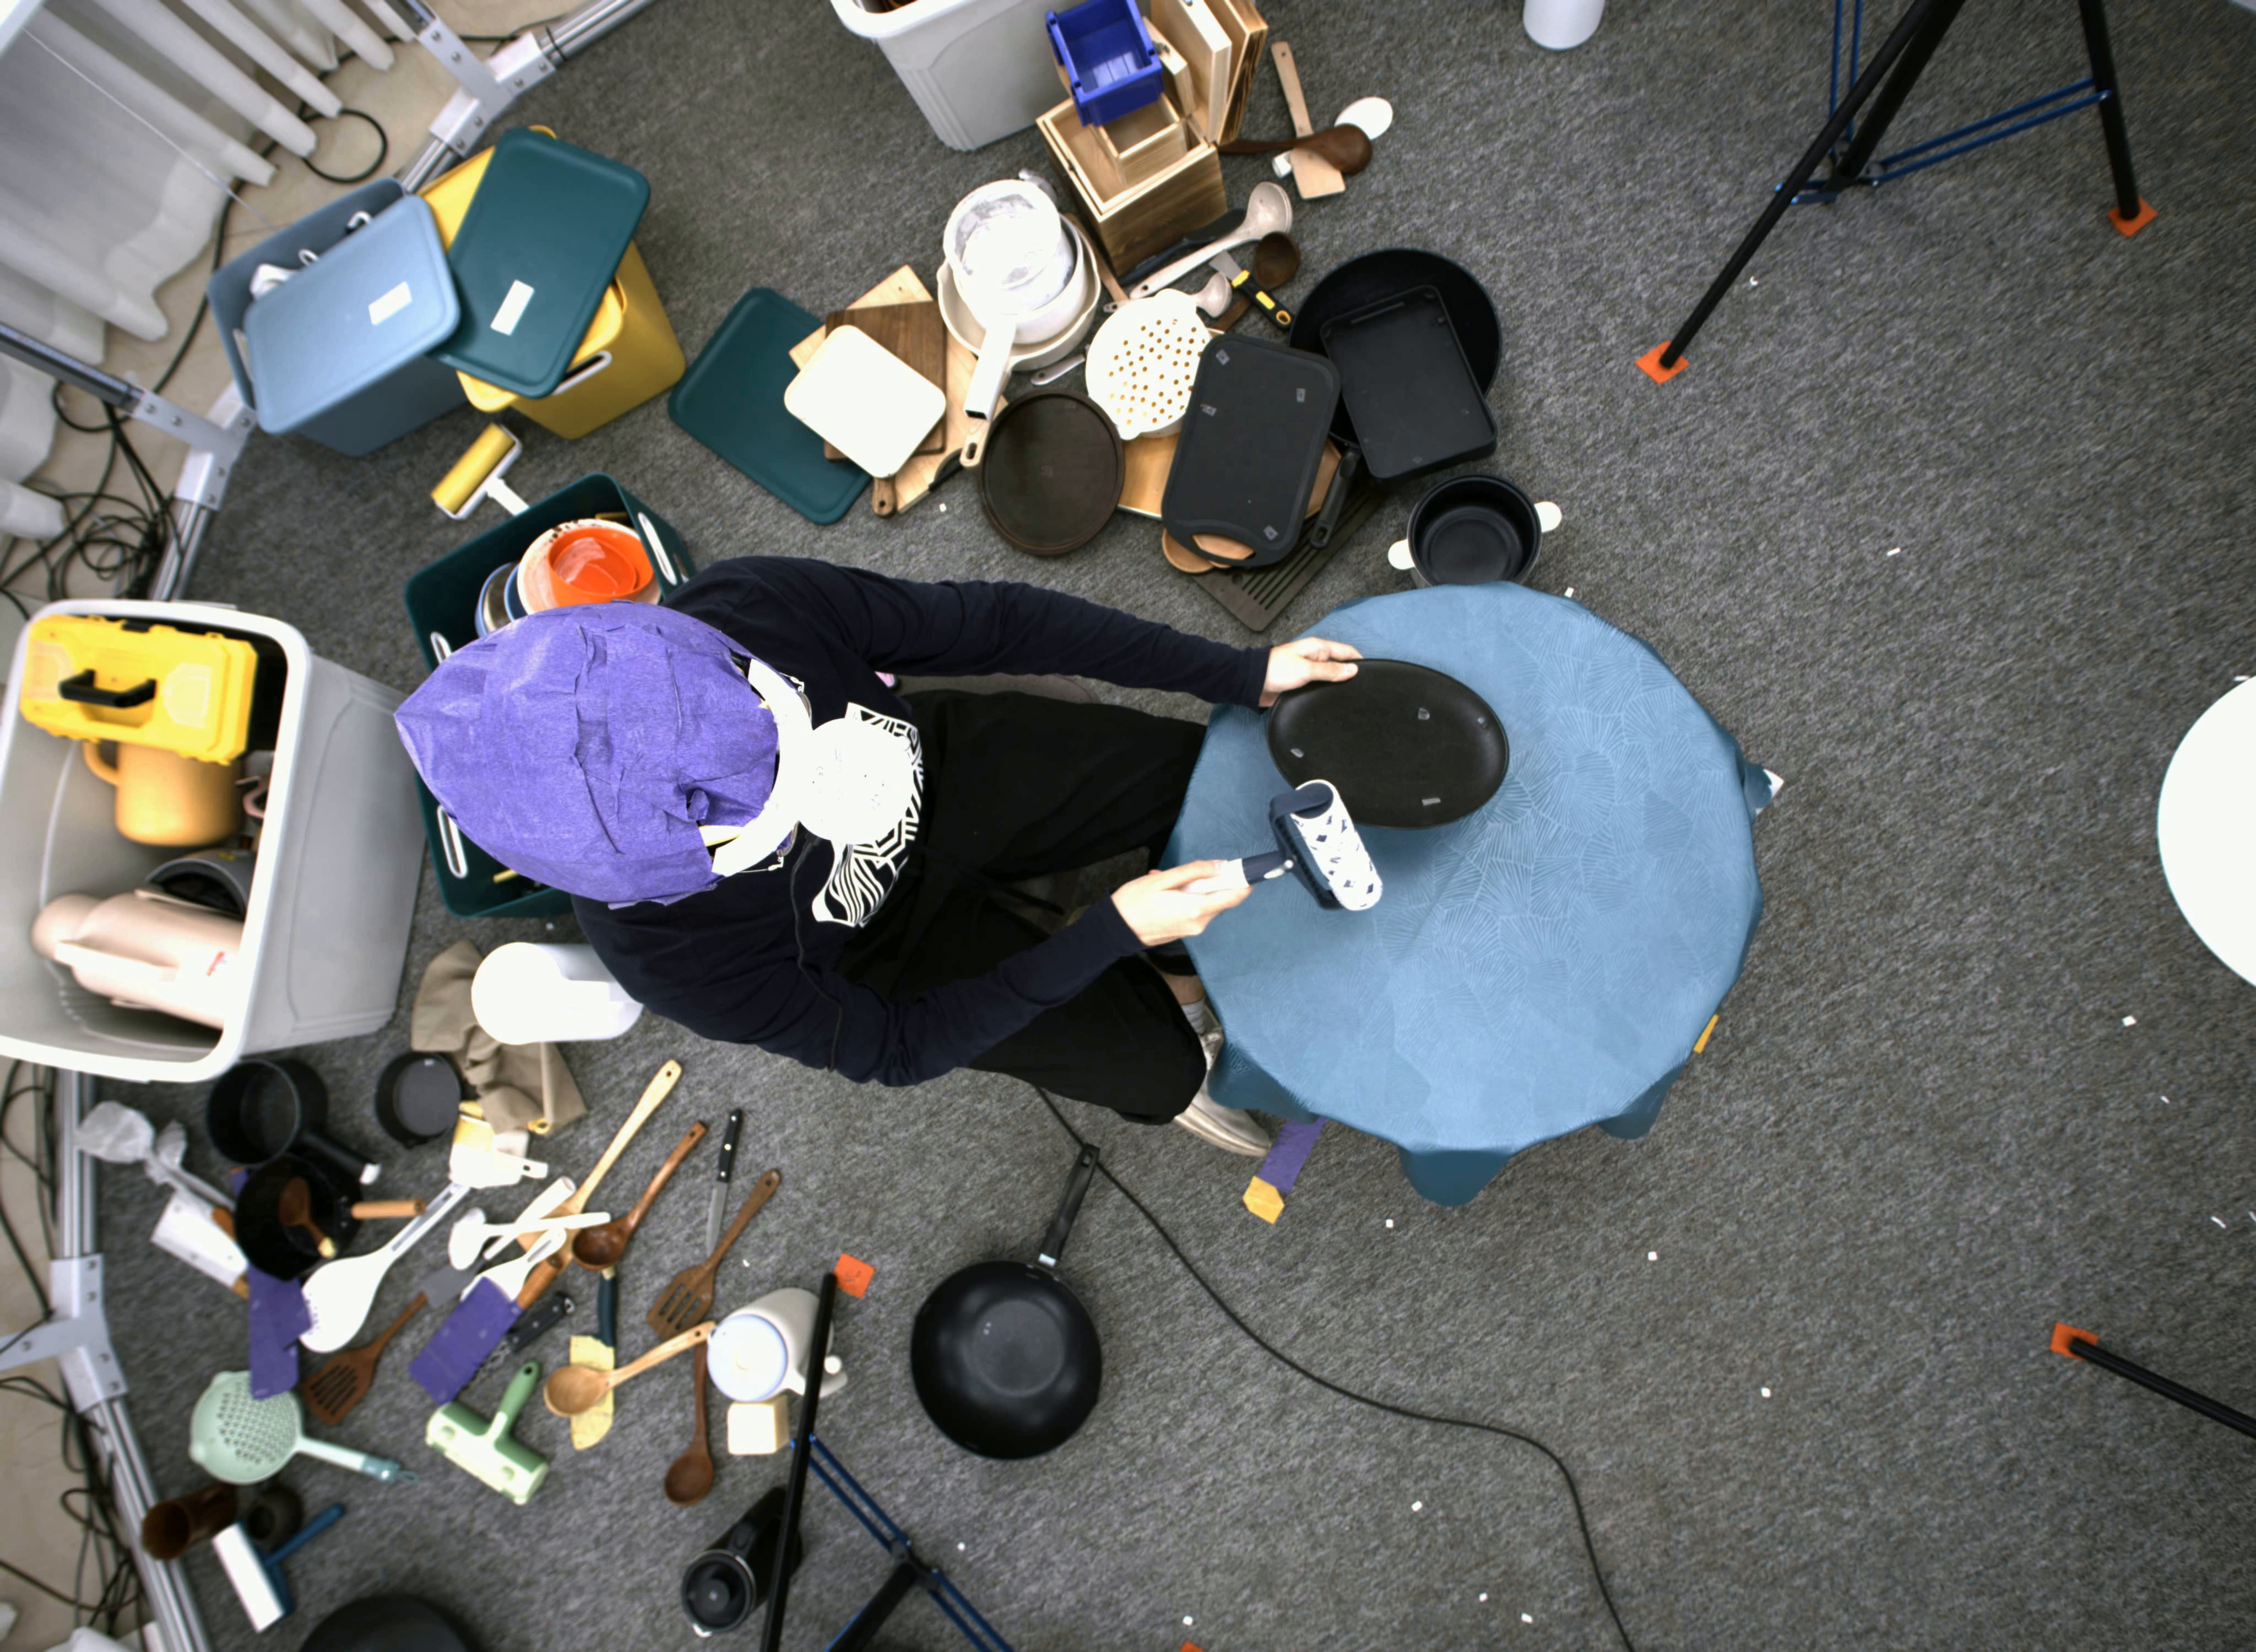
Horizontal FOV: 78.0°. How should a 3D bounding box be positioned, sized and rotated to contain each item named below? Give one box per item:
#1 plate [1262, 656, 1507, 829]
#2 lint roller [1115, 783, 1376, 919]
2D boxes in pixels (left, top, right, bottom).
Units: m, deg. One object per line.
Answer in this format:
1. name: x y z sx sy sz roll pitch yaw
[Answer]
1. plate: 0.256 -0.083 1.381 0.245 0.024 0.238 -1 50 0
2. lint roller: 0.104 0.053 1.343 0.249 0.179 0.049 -19 51 15
